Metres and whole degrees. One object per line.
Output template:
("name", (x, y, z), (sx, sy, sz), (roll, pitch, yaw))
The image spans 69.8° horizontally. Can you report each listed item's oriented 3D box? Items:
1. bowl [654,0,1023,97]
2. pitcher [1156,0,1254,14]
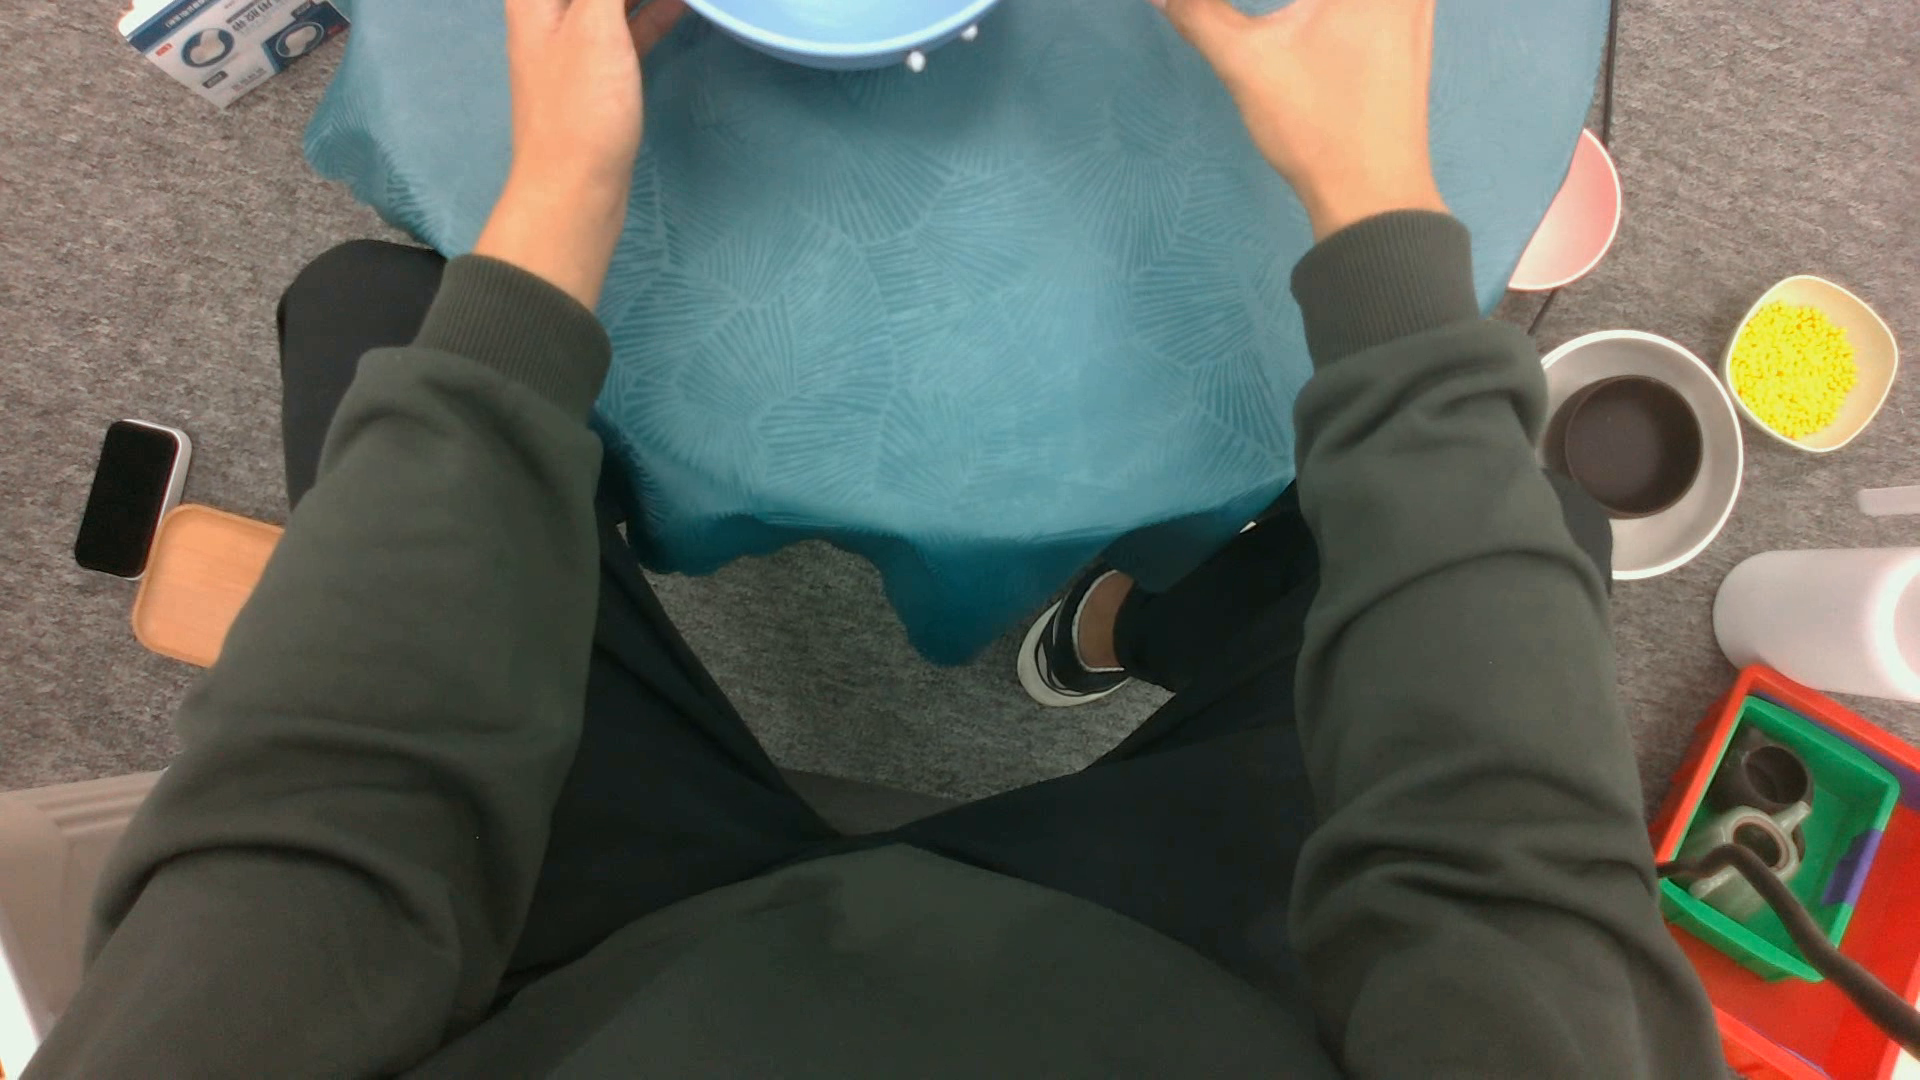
("bowl", (-0.052, -0.285, 0.616), (0.196, 0.095, 0.196), (0, 90, -2))
("pitcher", (0.097, -0.258, 0.567), (0.096, 0.071, 0.083), (9, 91, 20))
